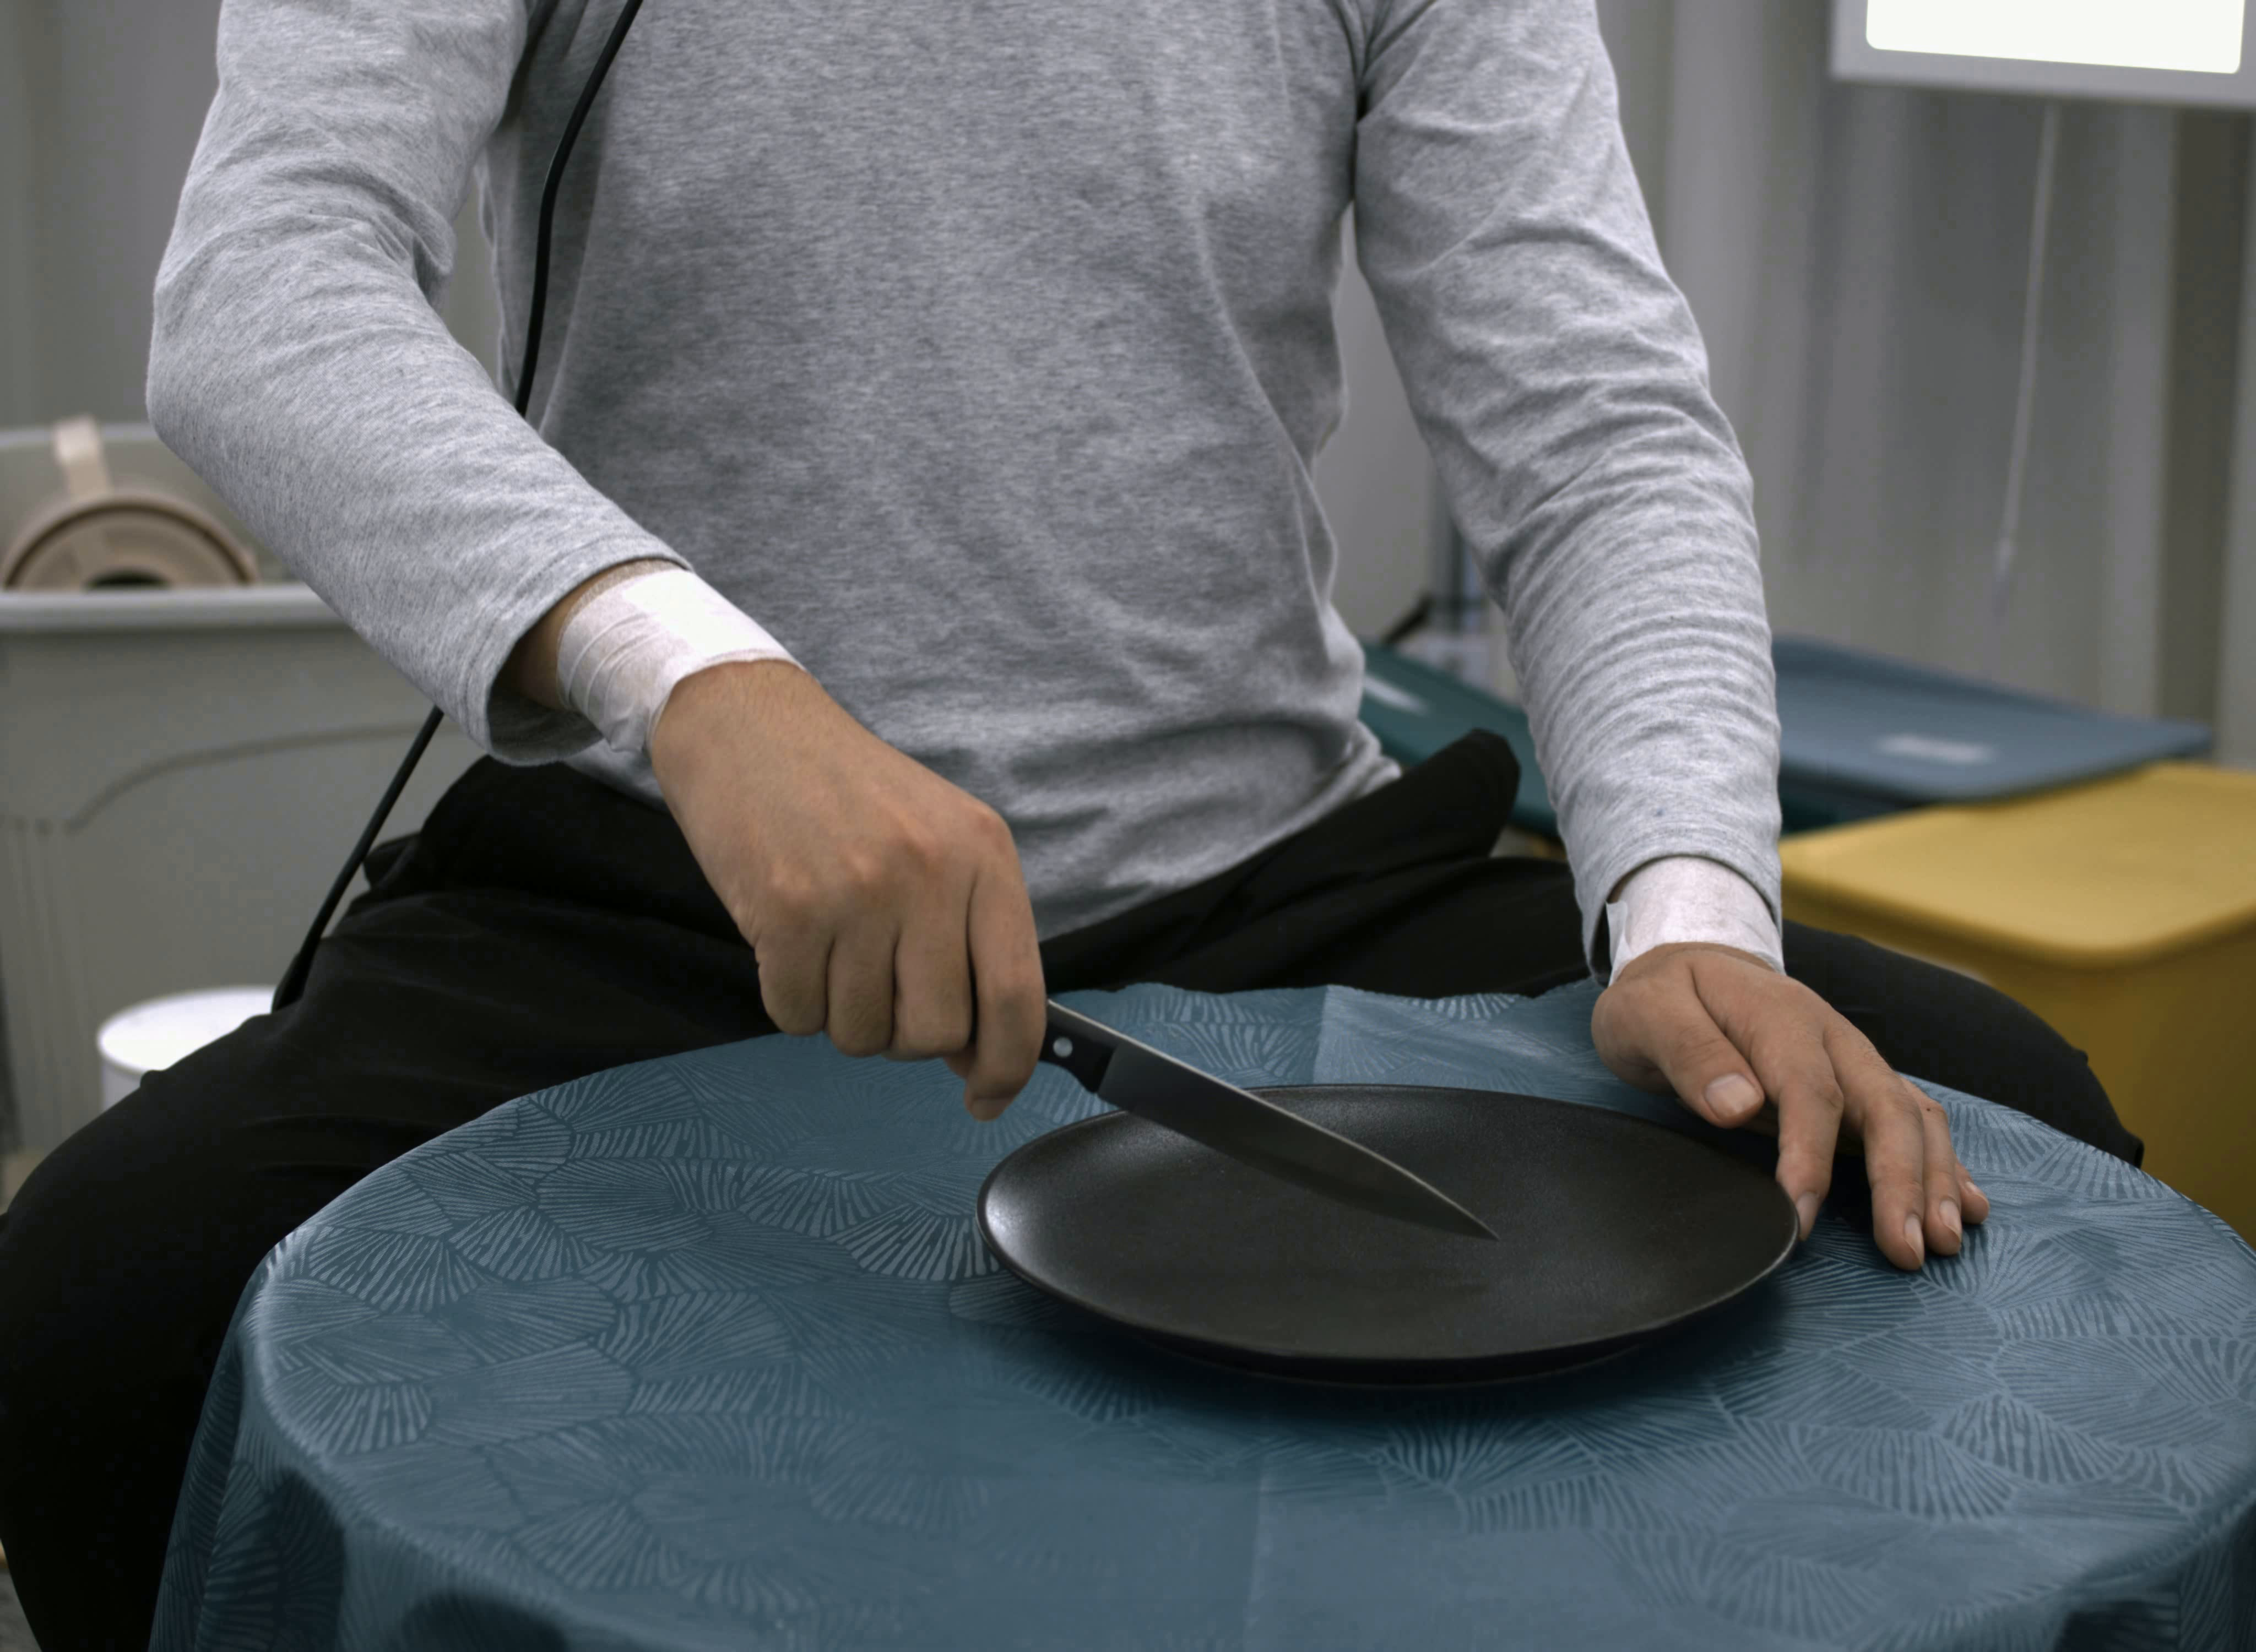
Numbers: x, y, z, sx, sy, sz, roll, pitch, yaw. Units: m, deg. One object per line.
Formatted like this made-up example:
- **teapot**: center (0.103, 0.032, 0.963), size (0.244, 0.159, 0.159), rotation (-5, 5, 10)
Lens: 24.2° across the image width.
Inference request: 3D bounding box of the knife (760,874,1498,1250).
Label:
- **knife**: center (0.002, 0.069, 1.540), size (0.237, 0.024, 0.016), rotation (25, 20, 3)

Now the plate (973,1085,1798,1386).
- **plate**: center (0.075, 0.123, 1.550), size (0.243, 0.023, 0.243), rotation (0, 15, 0)
